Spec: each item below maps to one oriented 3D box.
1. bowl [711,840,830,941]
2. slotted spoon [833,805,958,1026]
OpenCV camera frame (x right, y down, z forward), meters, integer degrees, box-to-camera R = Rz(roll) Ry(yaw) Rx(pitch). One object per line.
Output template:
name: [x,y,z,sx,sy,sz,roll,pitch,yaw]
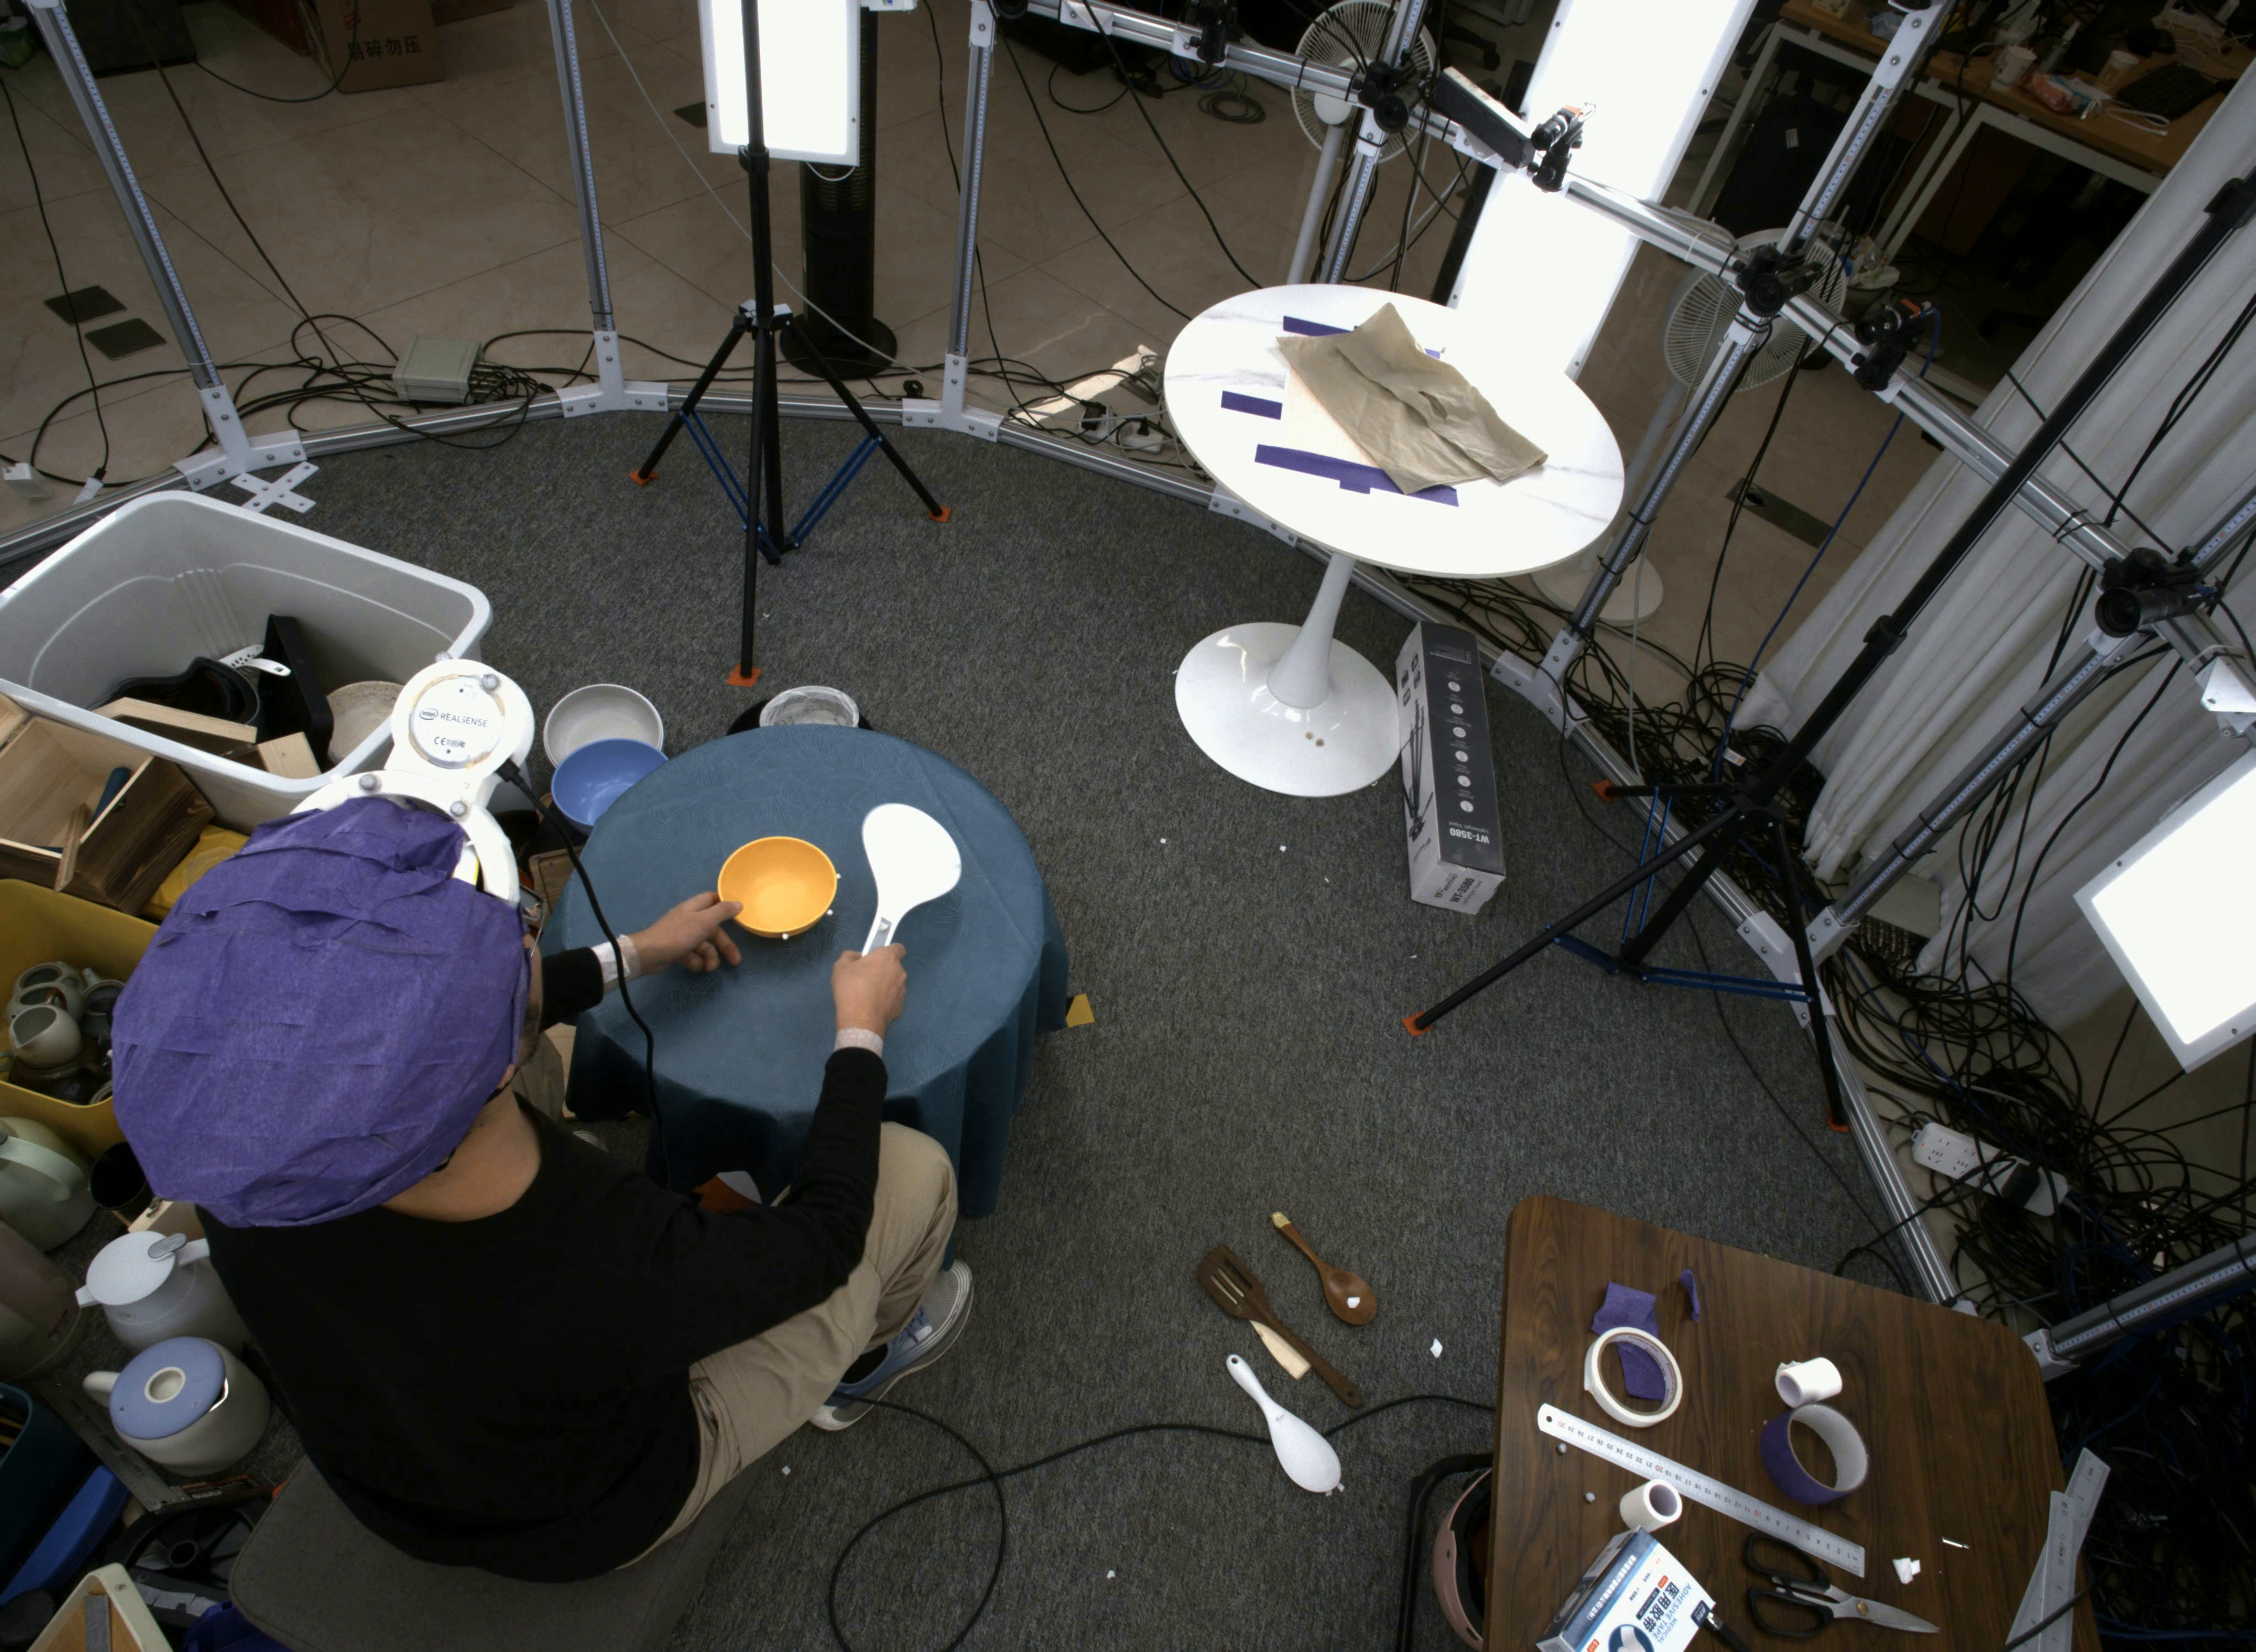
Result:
bowl: [-0.442,0.089,1.611,0.145,0.061,0.142,8,50,-8]
slotted spoon: [-0.290,0.101,1.555,0.139,0.046,0.343,34,32,-19]
